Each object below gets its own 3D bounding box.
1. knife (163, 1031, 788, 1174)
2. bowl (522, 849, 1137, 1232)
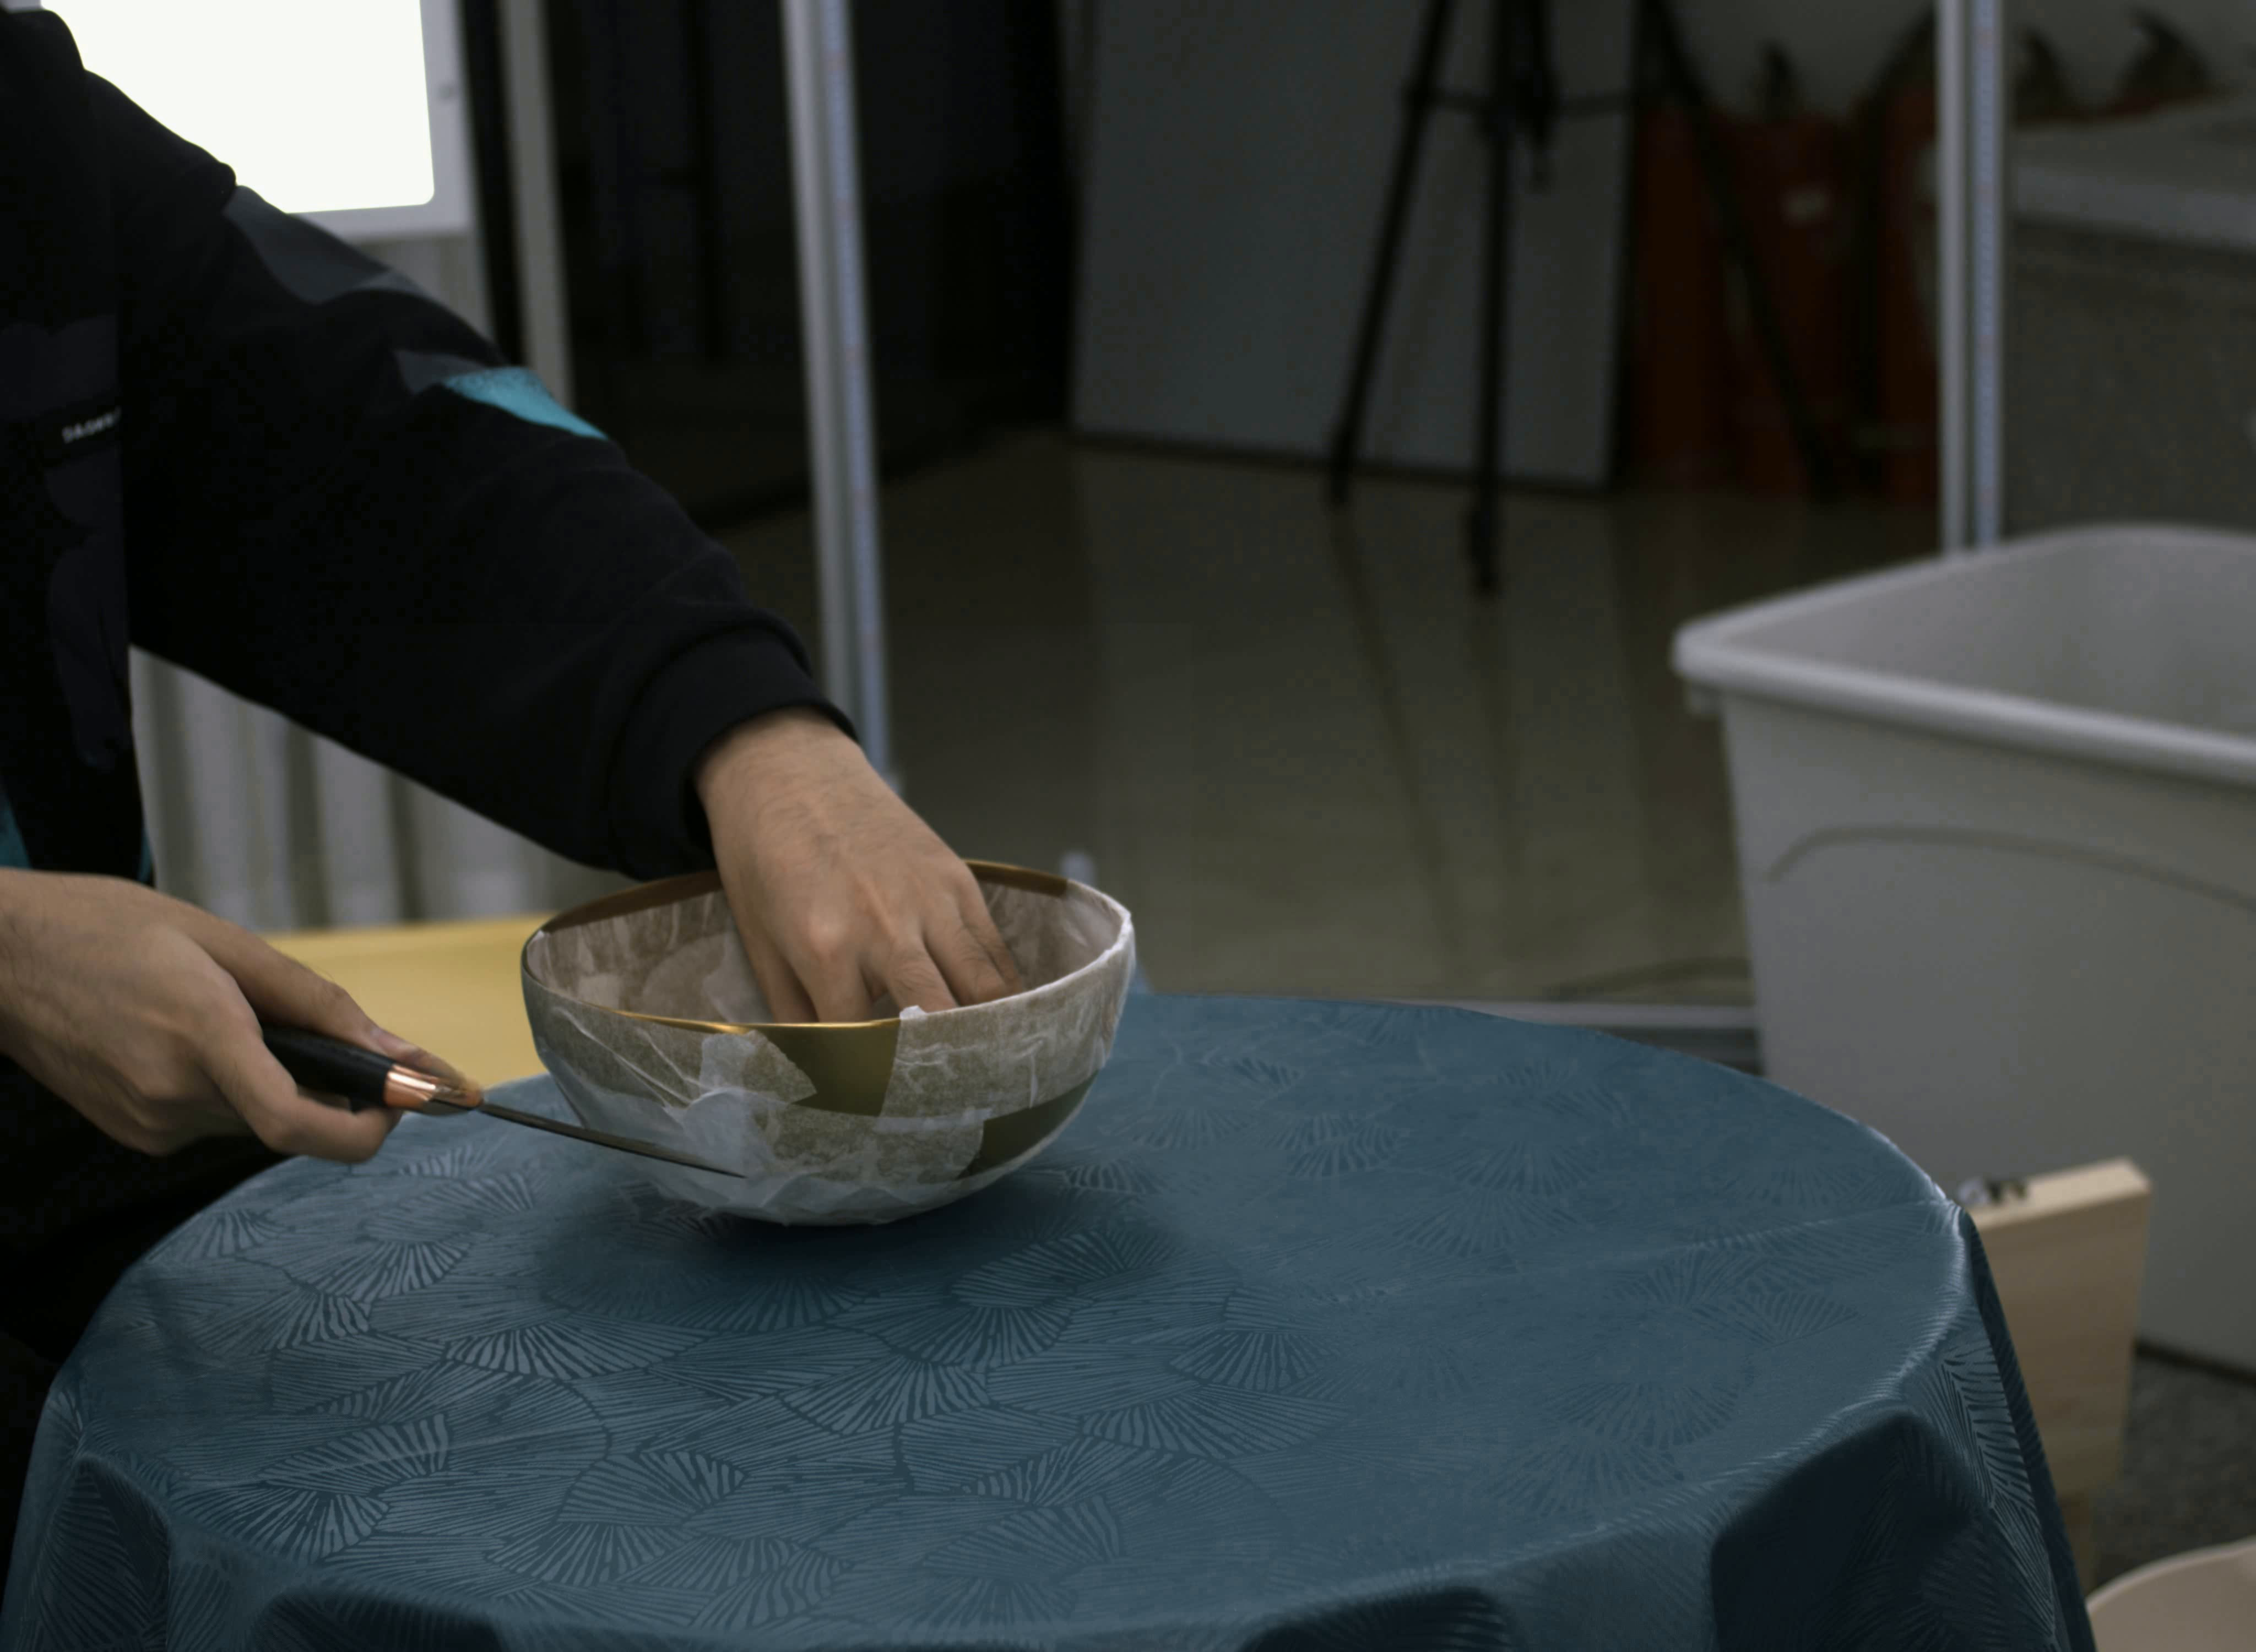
[{"bbox_3d":[-0.197,0.084,1.618,0.226,0.017,0.026,9,-2,31],"label":"knife"},{"bbox_3d":[-0.098,0.077,1.775,0.212,0.095,0.215,-4,15,0],"label":"bowl"}]
